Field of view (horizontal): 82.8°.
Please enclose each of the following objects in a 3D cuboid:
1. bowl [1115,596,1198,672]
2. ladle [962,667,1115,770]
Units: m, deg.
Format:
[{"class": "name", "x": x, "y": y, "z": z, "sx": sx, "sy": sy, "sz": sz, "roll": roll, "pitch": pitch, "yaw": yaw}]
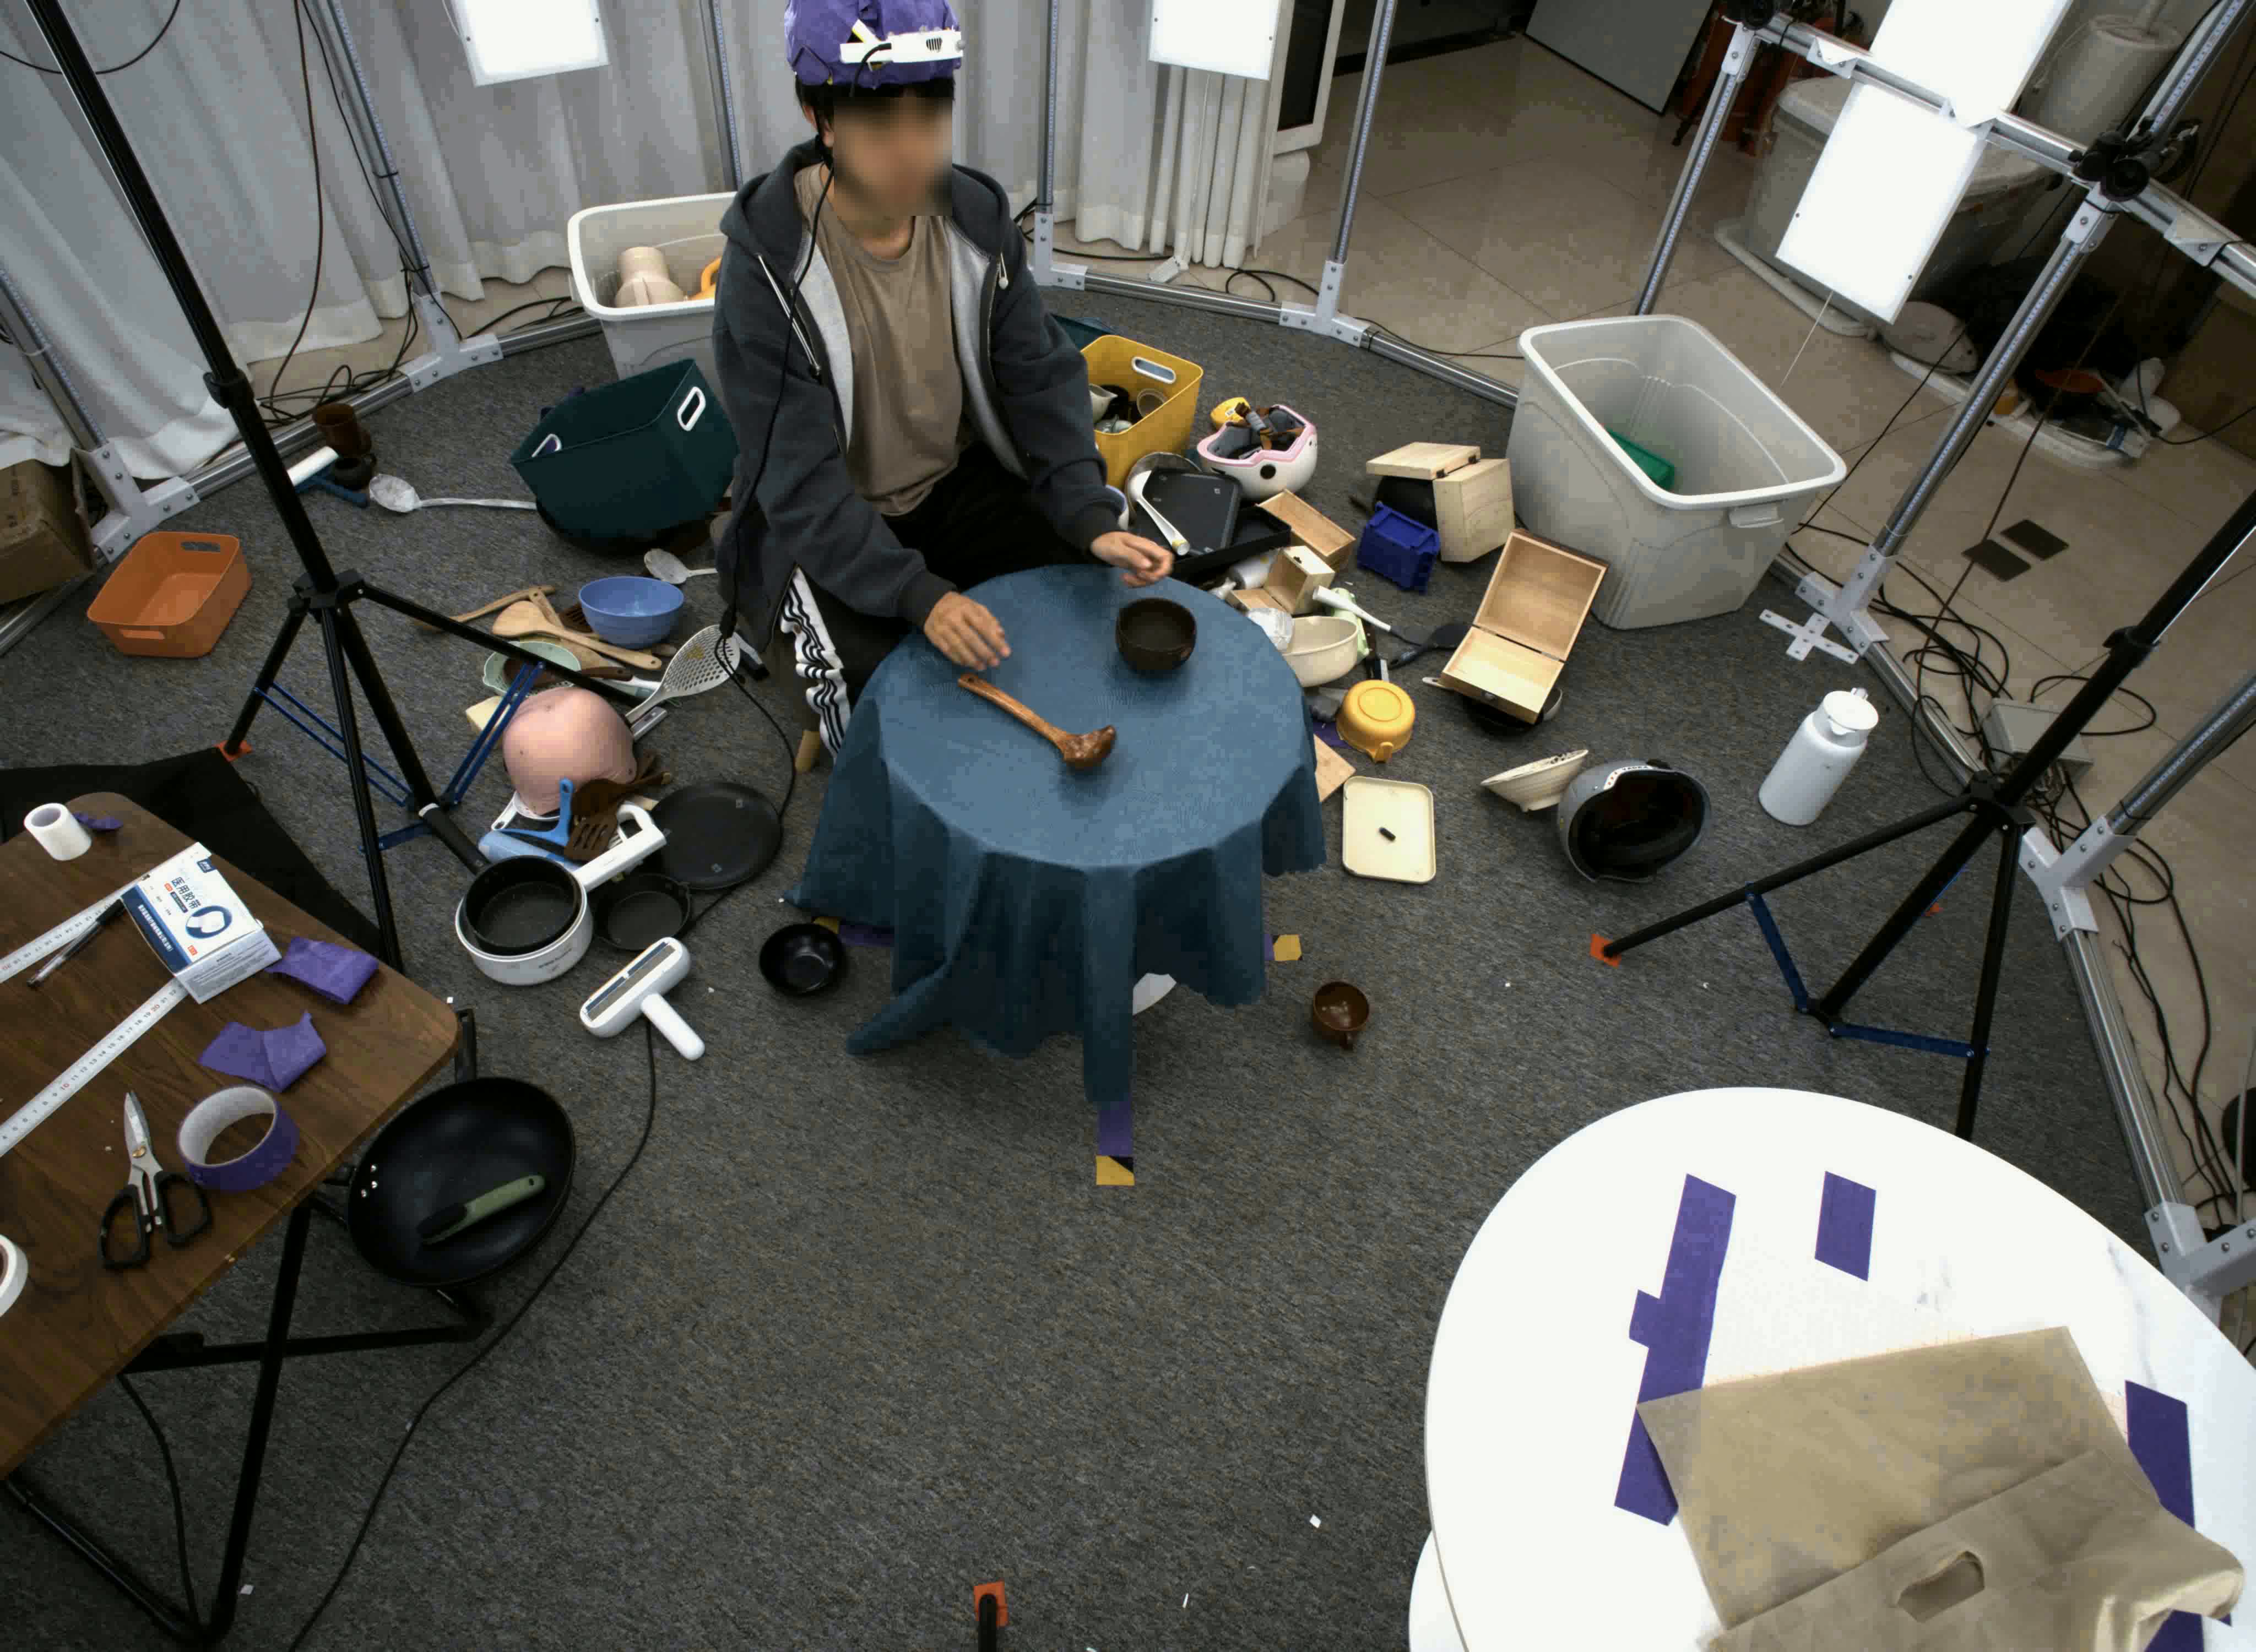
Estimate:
[{"class": "bowl", "x": 0.040, "y": -0.269, "z": 1.855, "sx": 0.118, "sy": 0.068, "sz": 0.121, "roll": 2, "pitch": 49, "yaw": -2}, {"class": "ladle", "x": -0.131, "y": -0.162, "z": 1.747, "sx": 0.278, "sy": 0.075, "sz": 0.083, "roll": 36, "pitch": 61, "yaw": 24}]
